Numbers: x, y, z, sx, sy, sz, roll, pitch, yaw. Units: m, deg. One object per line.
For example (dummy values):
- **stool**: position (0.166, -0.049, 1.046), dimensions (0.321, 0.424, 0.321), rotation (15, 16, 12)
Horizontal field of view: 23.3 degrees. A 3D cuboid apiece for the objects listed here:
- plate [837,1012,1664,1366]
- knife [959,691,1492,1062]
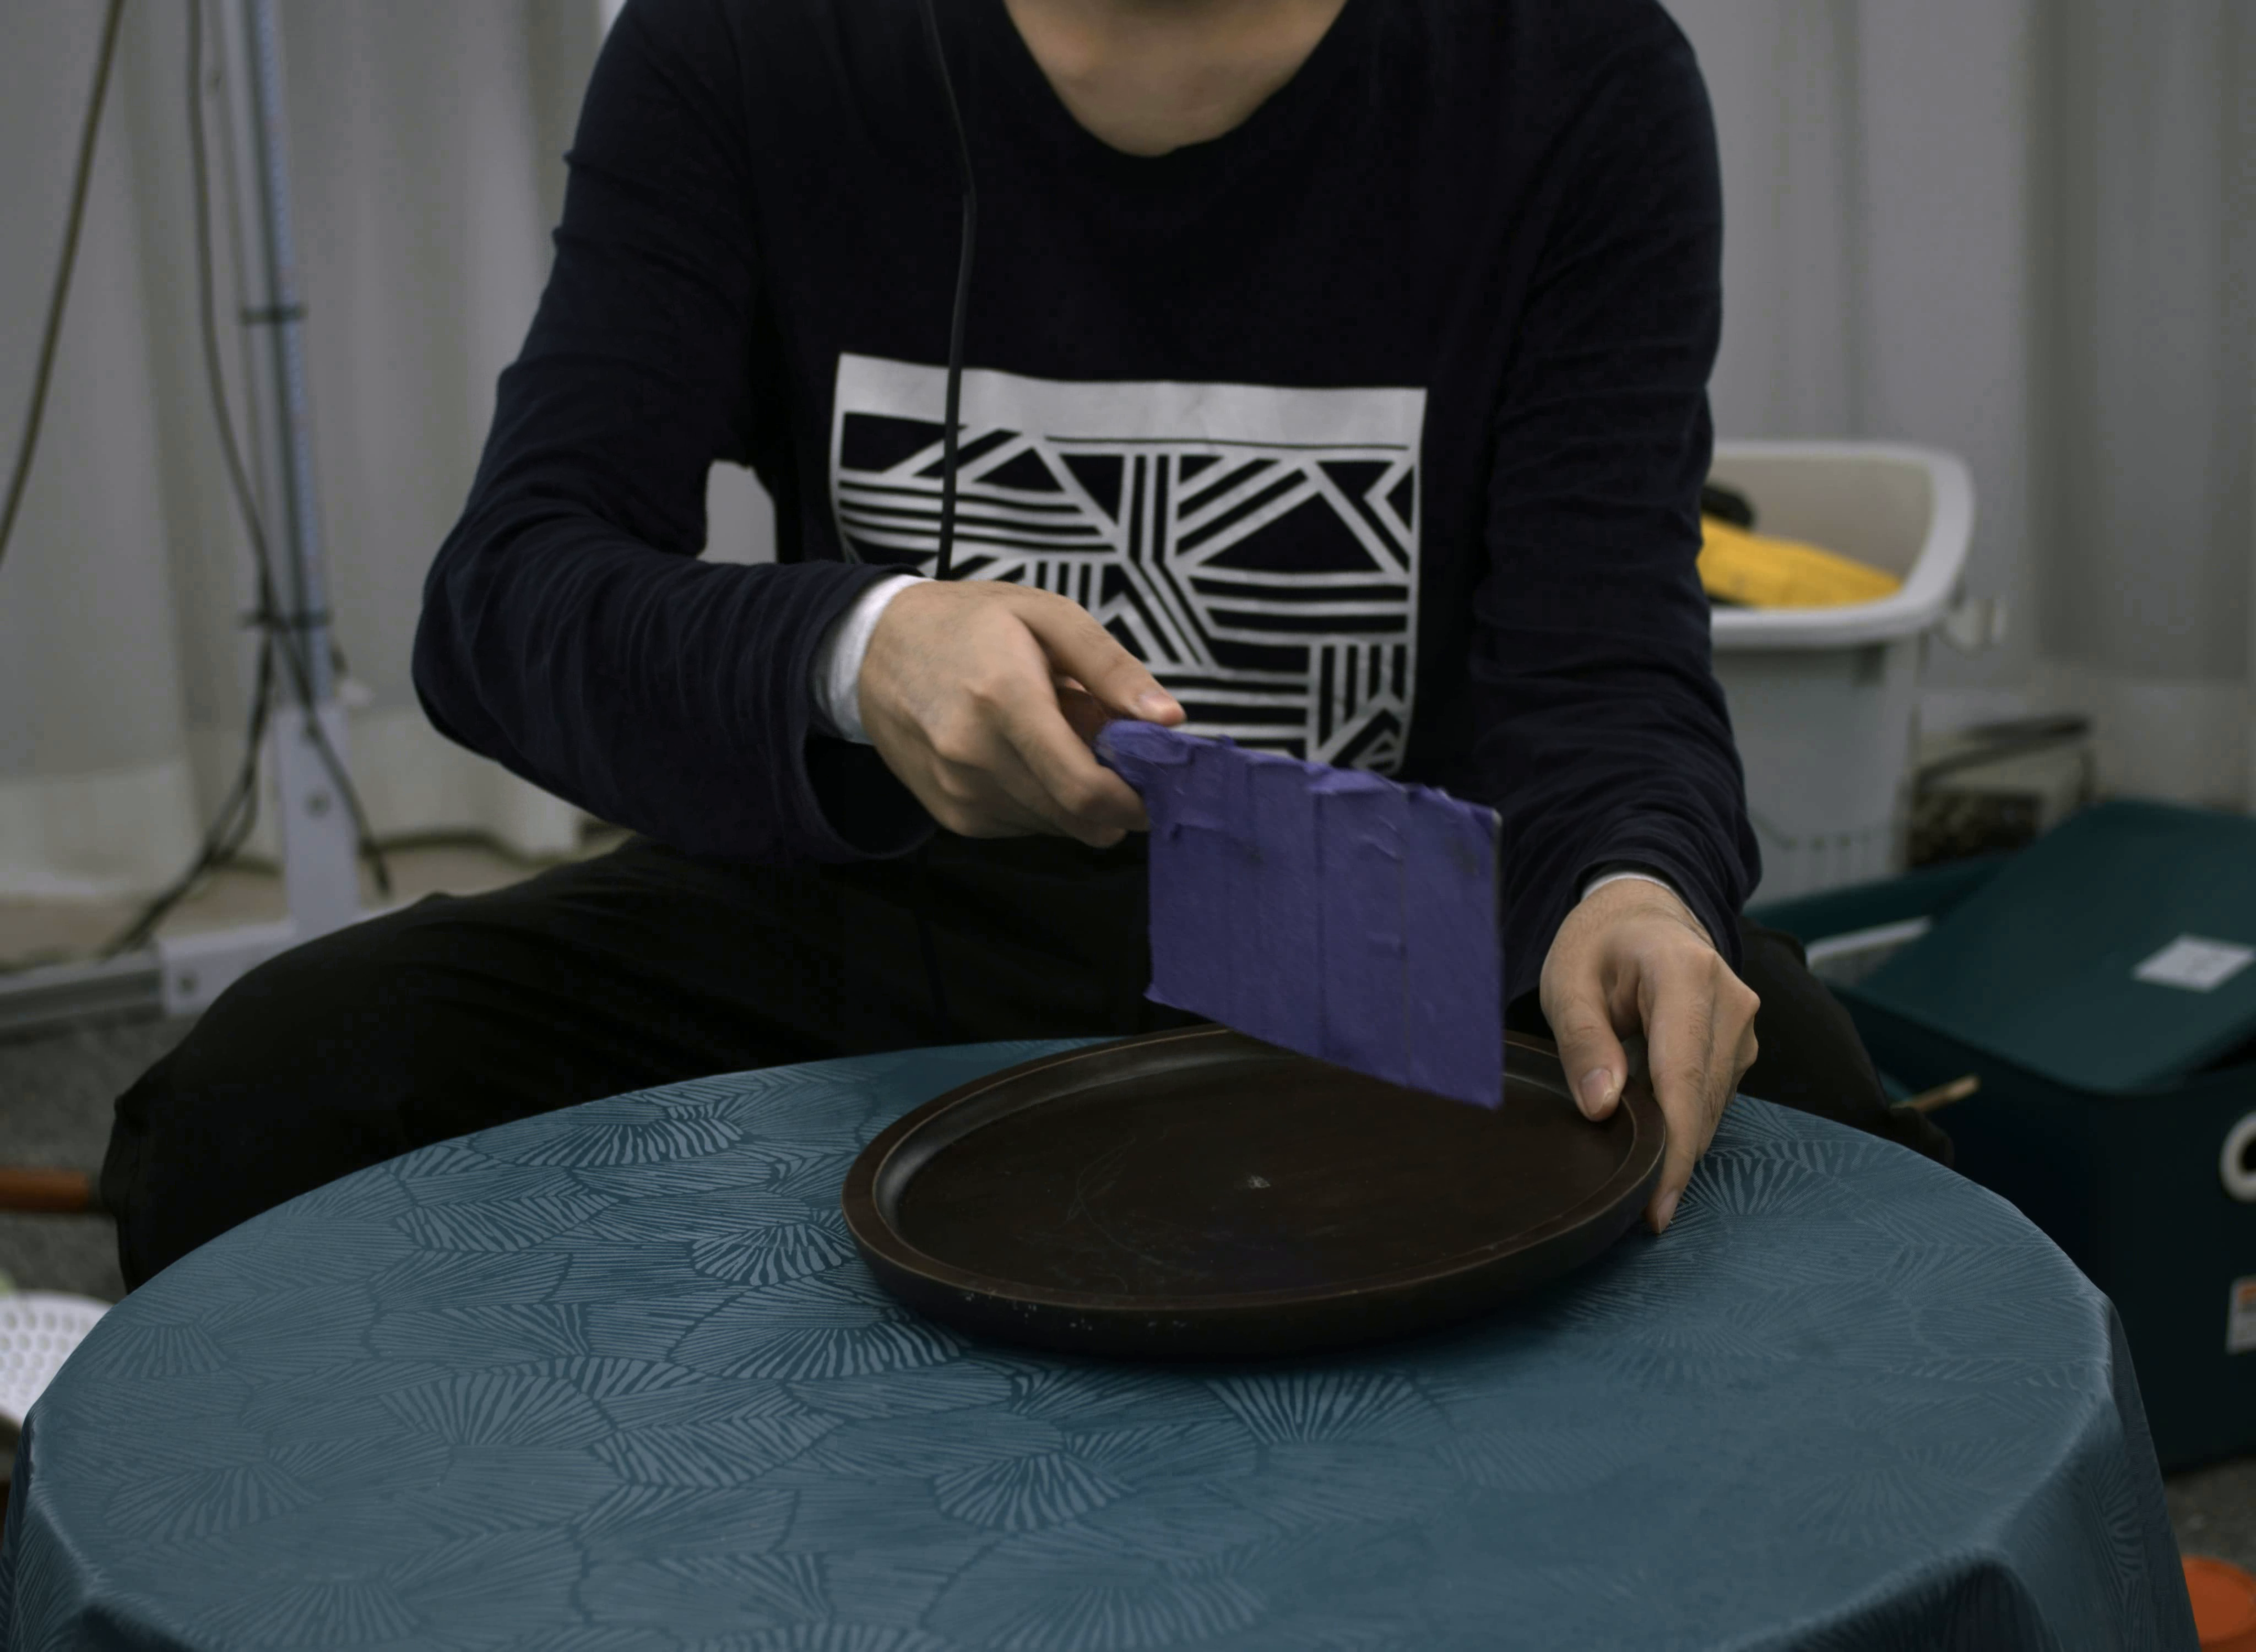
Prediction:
- **plate**: position (0.037, 0.109, 1.664), dimensions (0.254, 0.029, 0.257), rotation (-6, 17, 1)
- **knife**: position (0.026, 0.015, 1.691), dimensions (0.032, 0.104, 0.317), rotation (-3, 7, -26)
